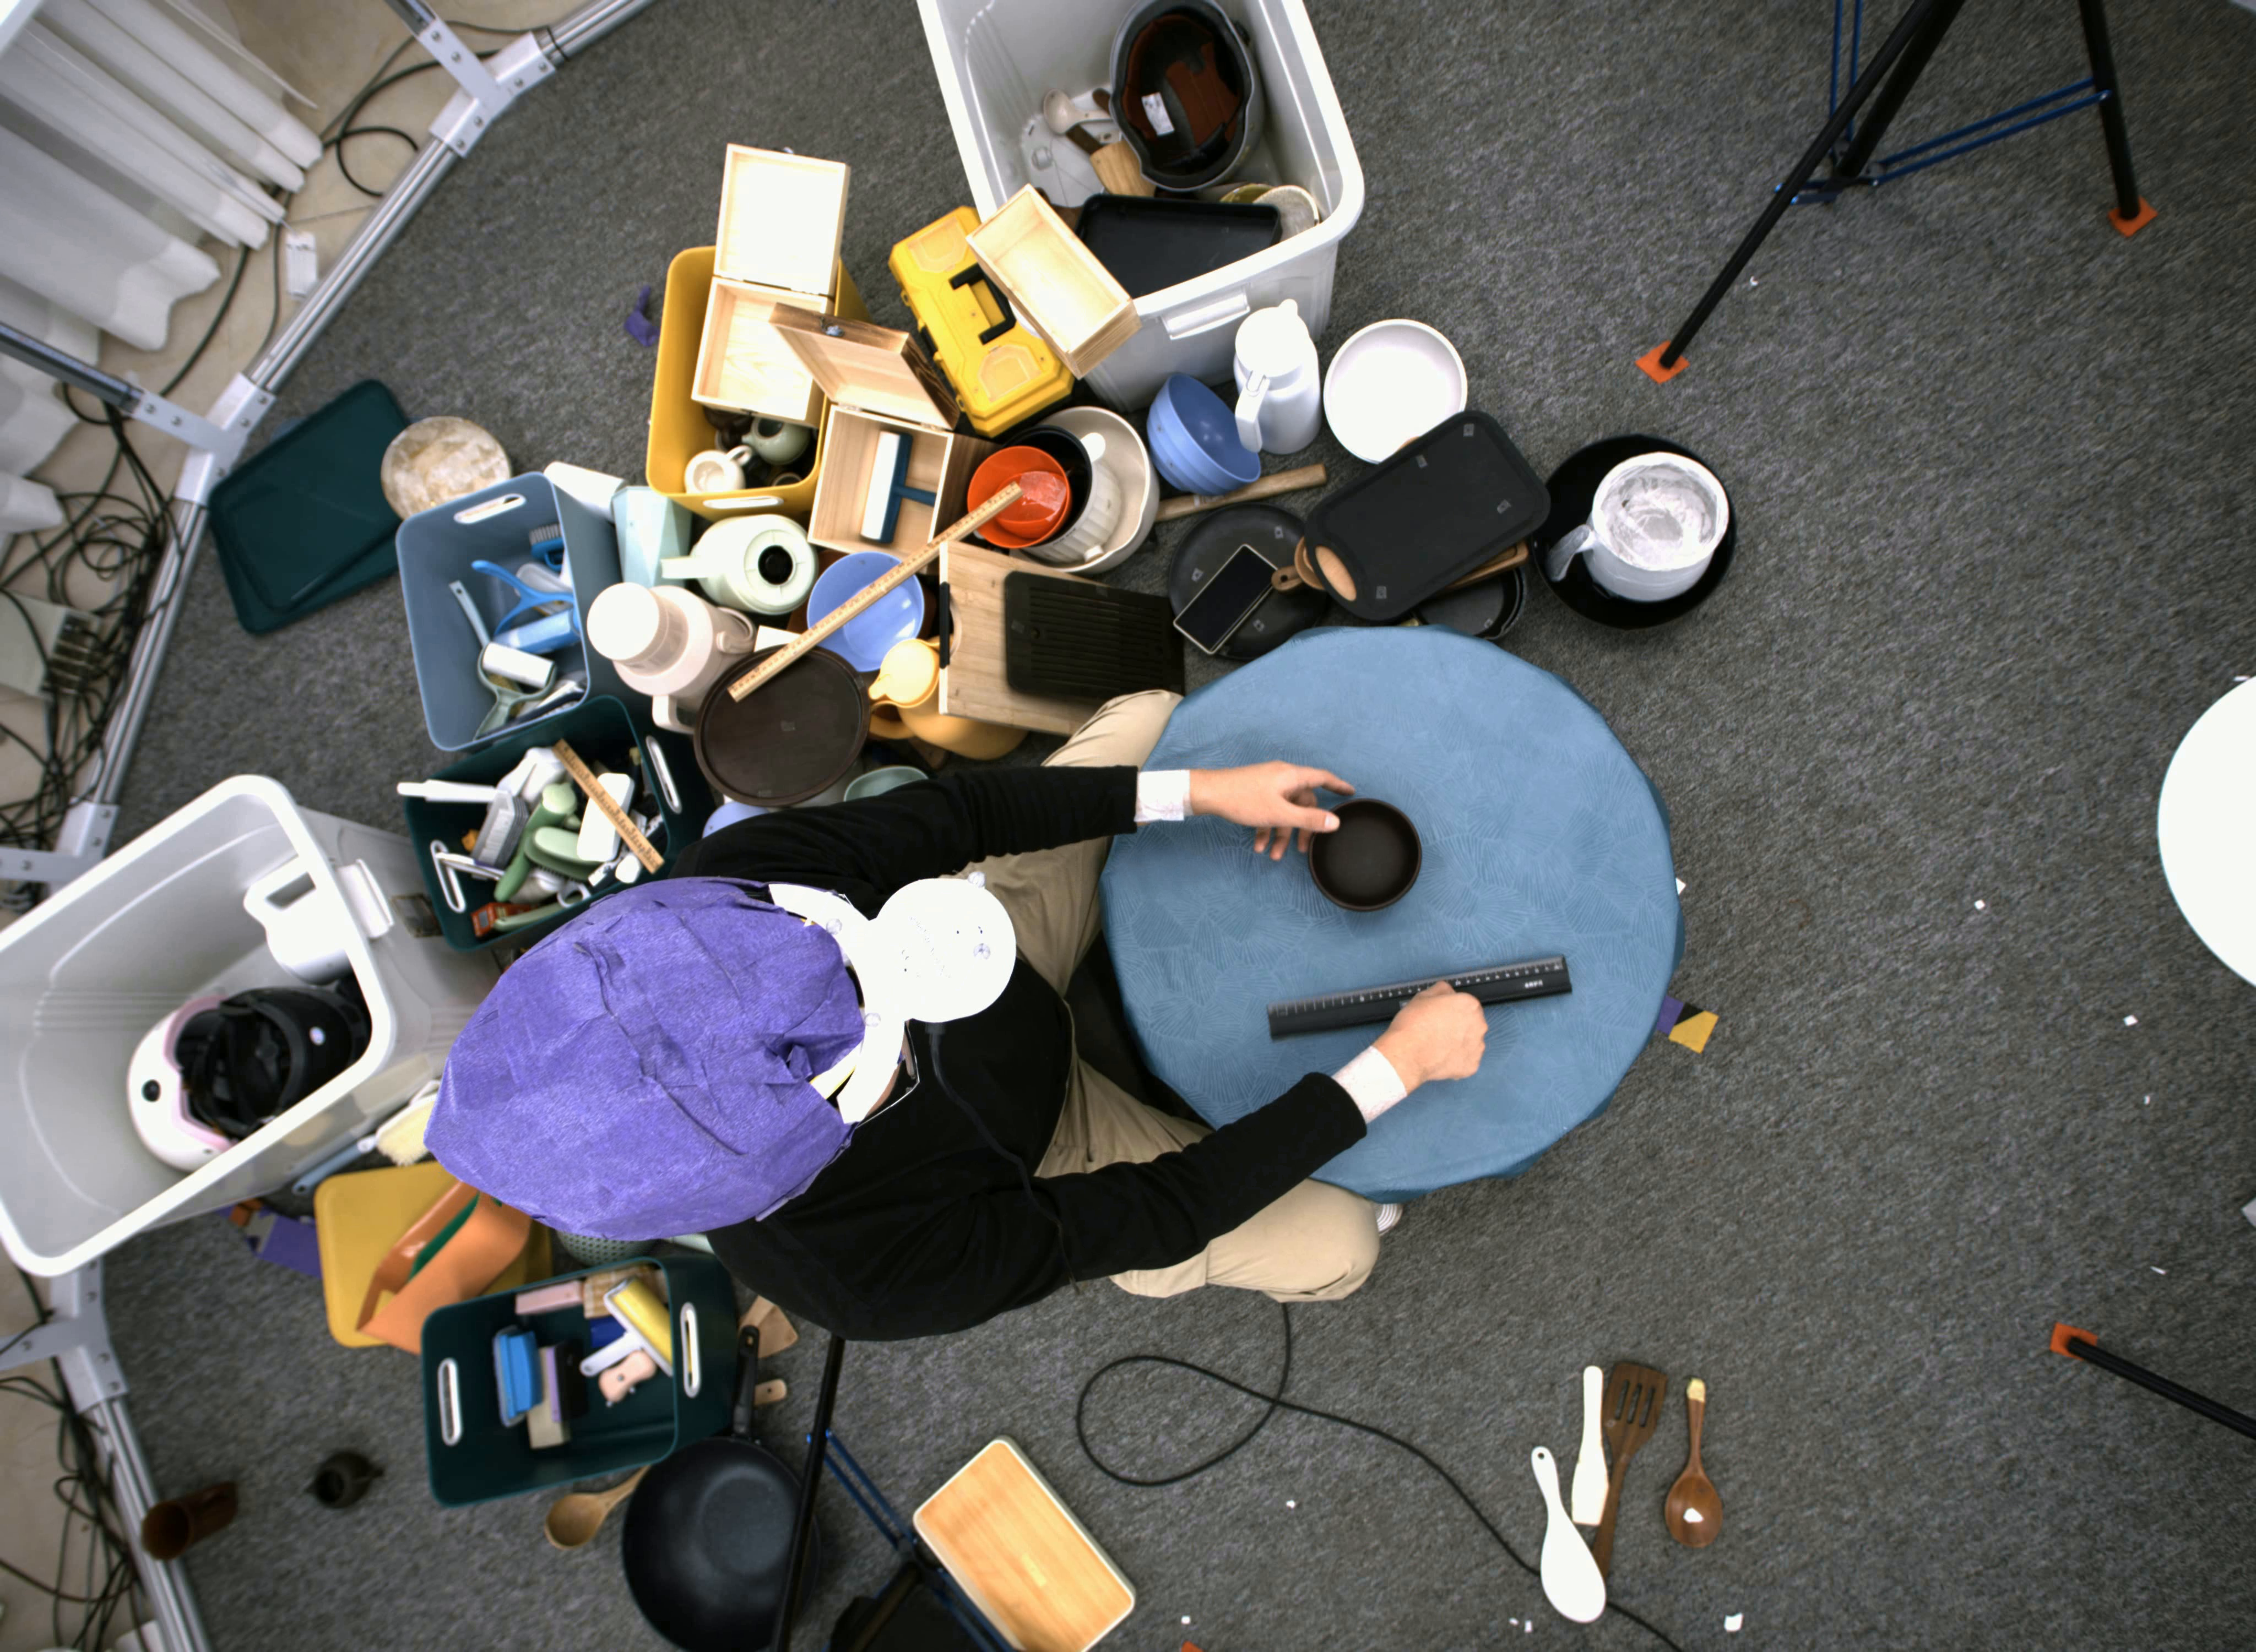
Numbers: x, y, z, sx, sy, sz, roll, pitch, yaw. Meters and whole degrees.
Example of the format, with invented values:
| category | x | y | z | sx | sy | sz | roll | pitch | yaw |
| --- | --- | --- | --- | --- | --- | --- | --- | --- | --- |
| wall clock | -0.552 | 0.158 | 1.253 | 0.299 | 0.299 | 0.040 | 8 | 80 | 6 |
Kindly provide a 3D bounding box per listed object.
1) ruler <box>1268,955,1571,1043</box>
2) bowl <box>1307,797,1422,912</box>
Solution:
| category | x | y | z | sx | sy | sz | roll | pitch | yaw |
| --- | --- | --- | --- | --- | --- | --- | --- | --- | --- |
| ruler | 0.299 | 0.178 | 1.433 | 0.314 | 0.017 | 0.039 | -13 | 79 | 13 |
| bowl | 0.244 | 0.030 | 1.430 | 0.118 | 0.070 | 0.117 | -1 | 85 | 10 |
